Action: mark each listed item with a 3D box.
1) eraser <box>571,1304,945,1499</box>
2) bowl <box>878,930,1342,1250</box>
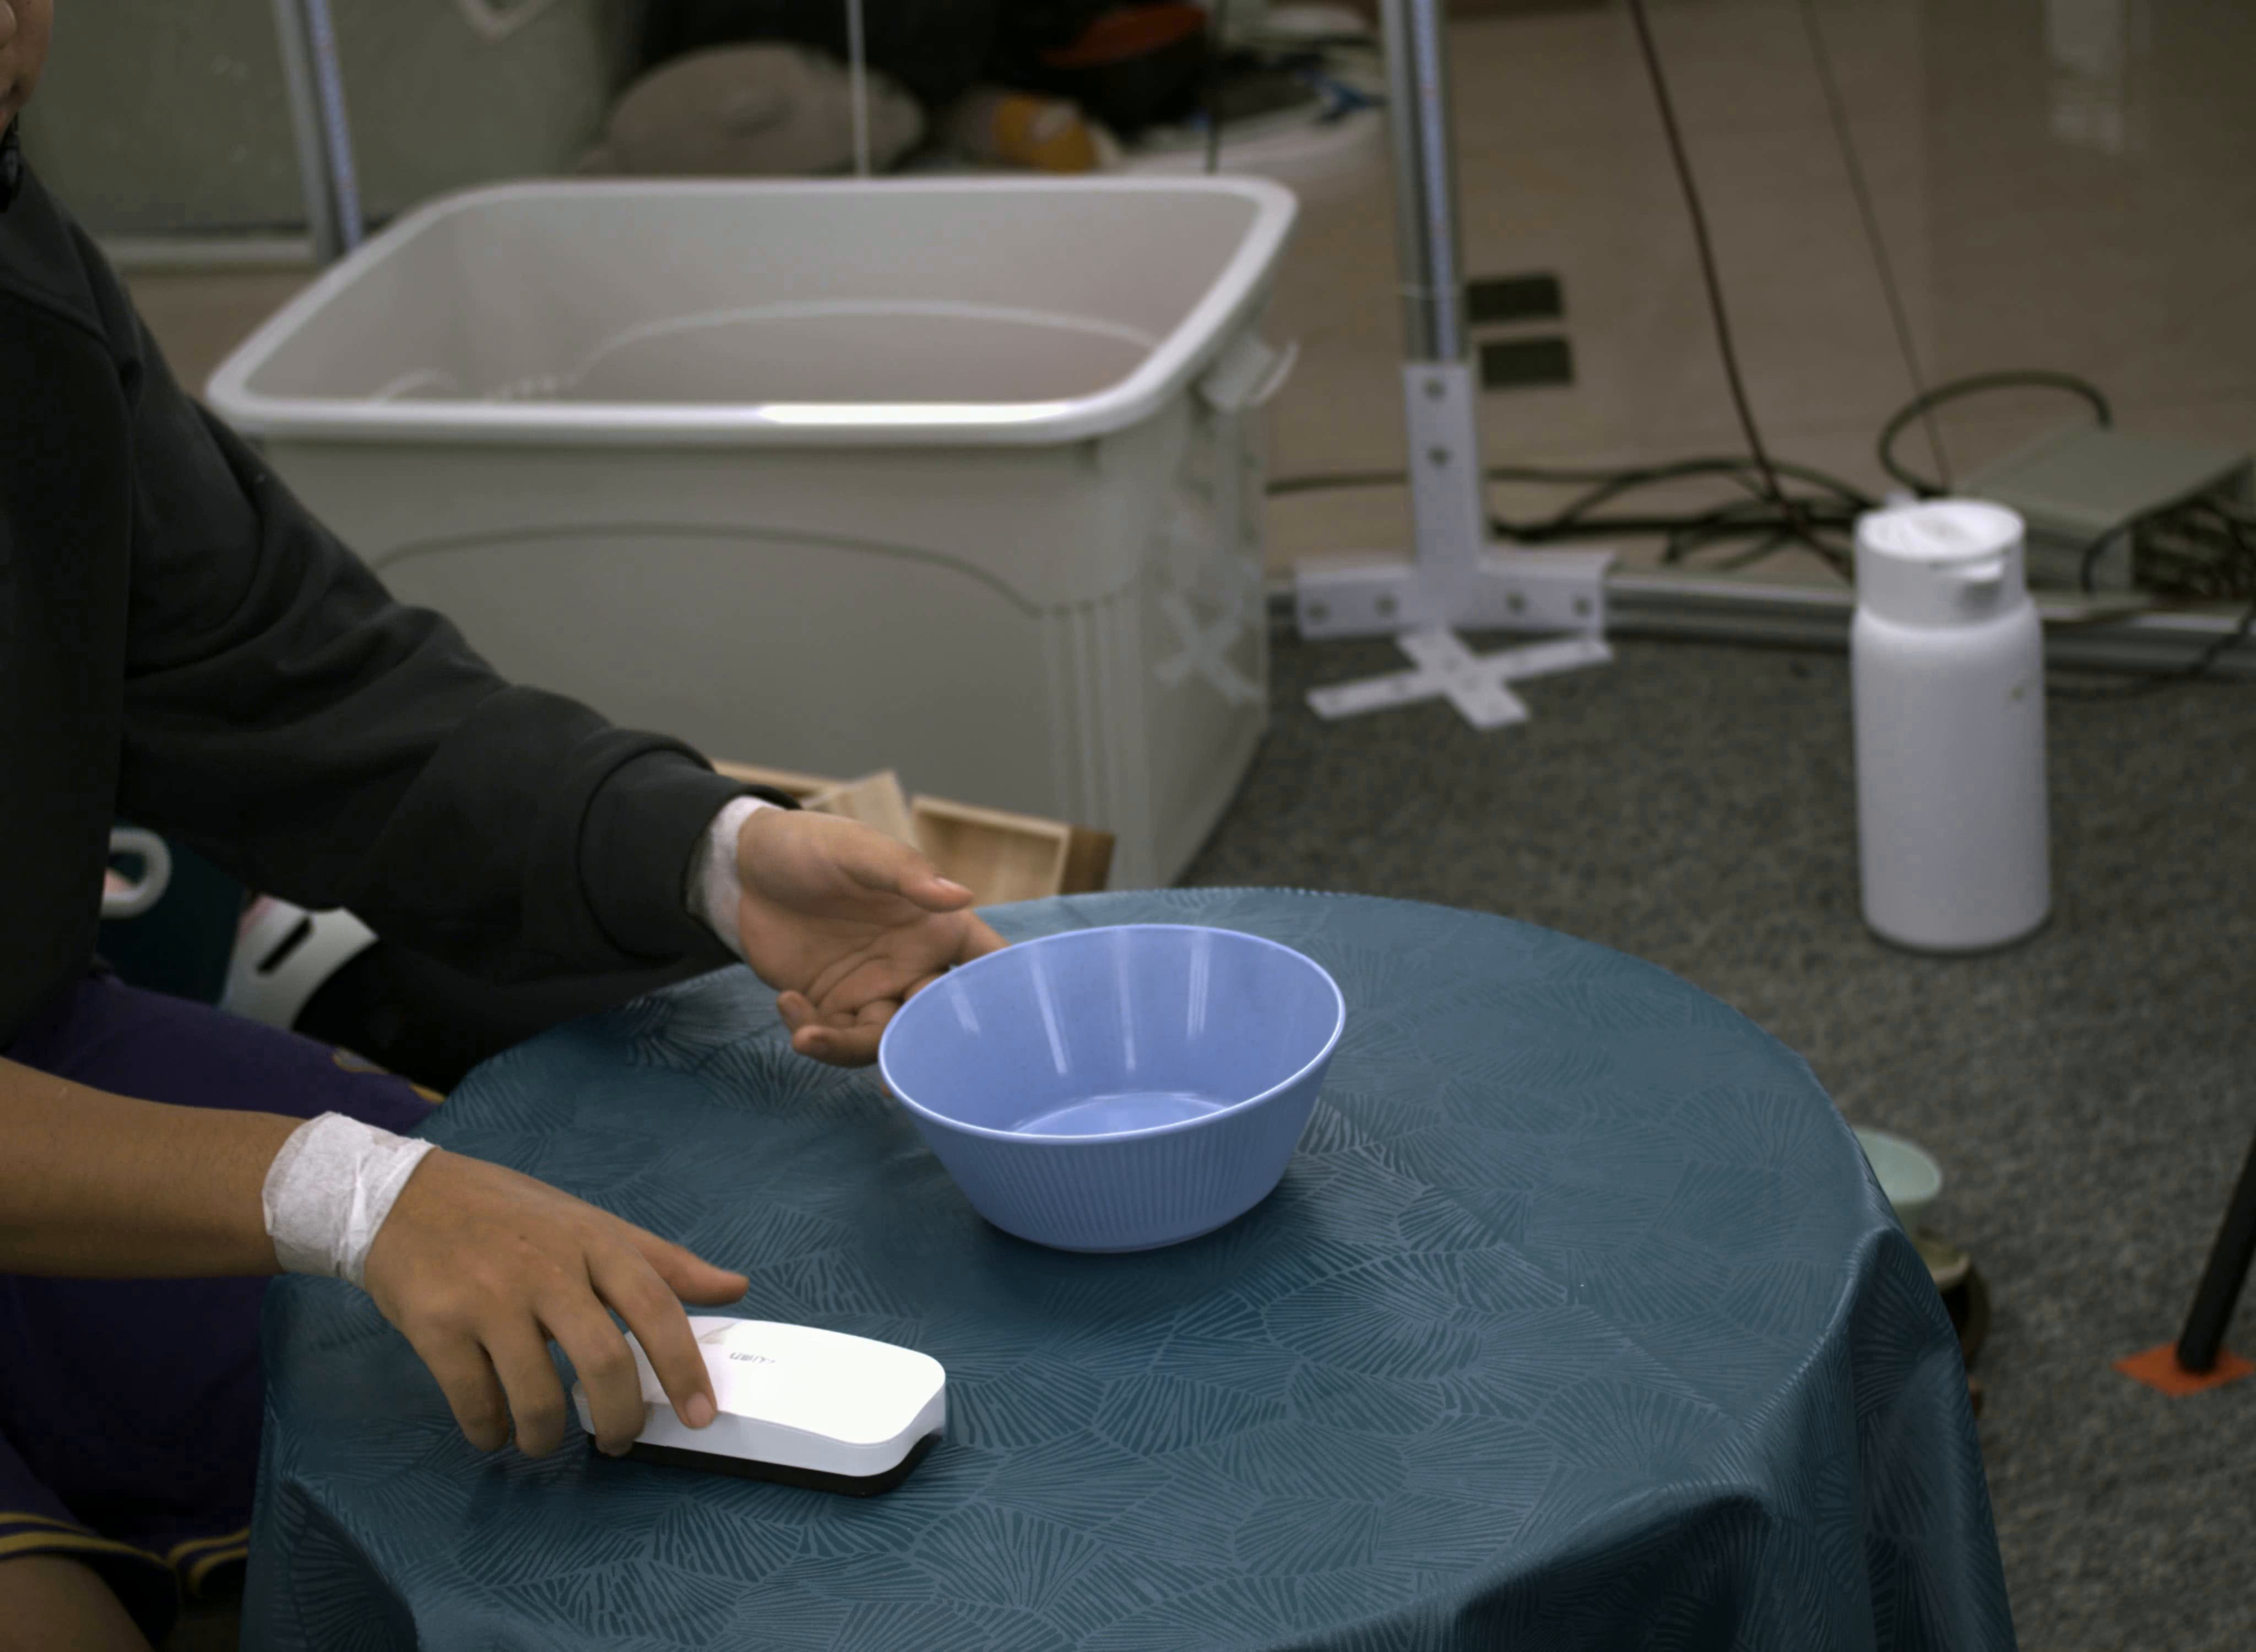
[{"bbox_3d":[-0.130,0.201,2.006,0.131,0.035,0.062,9,28,26],"label":"eraser"},{"bbox_3d":[-0.004,0.105,2.136,0.176,0.071,0.173,-5,24,2],"label":"bowl"}]
